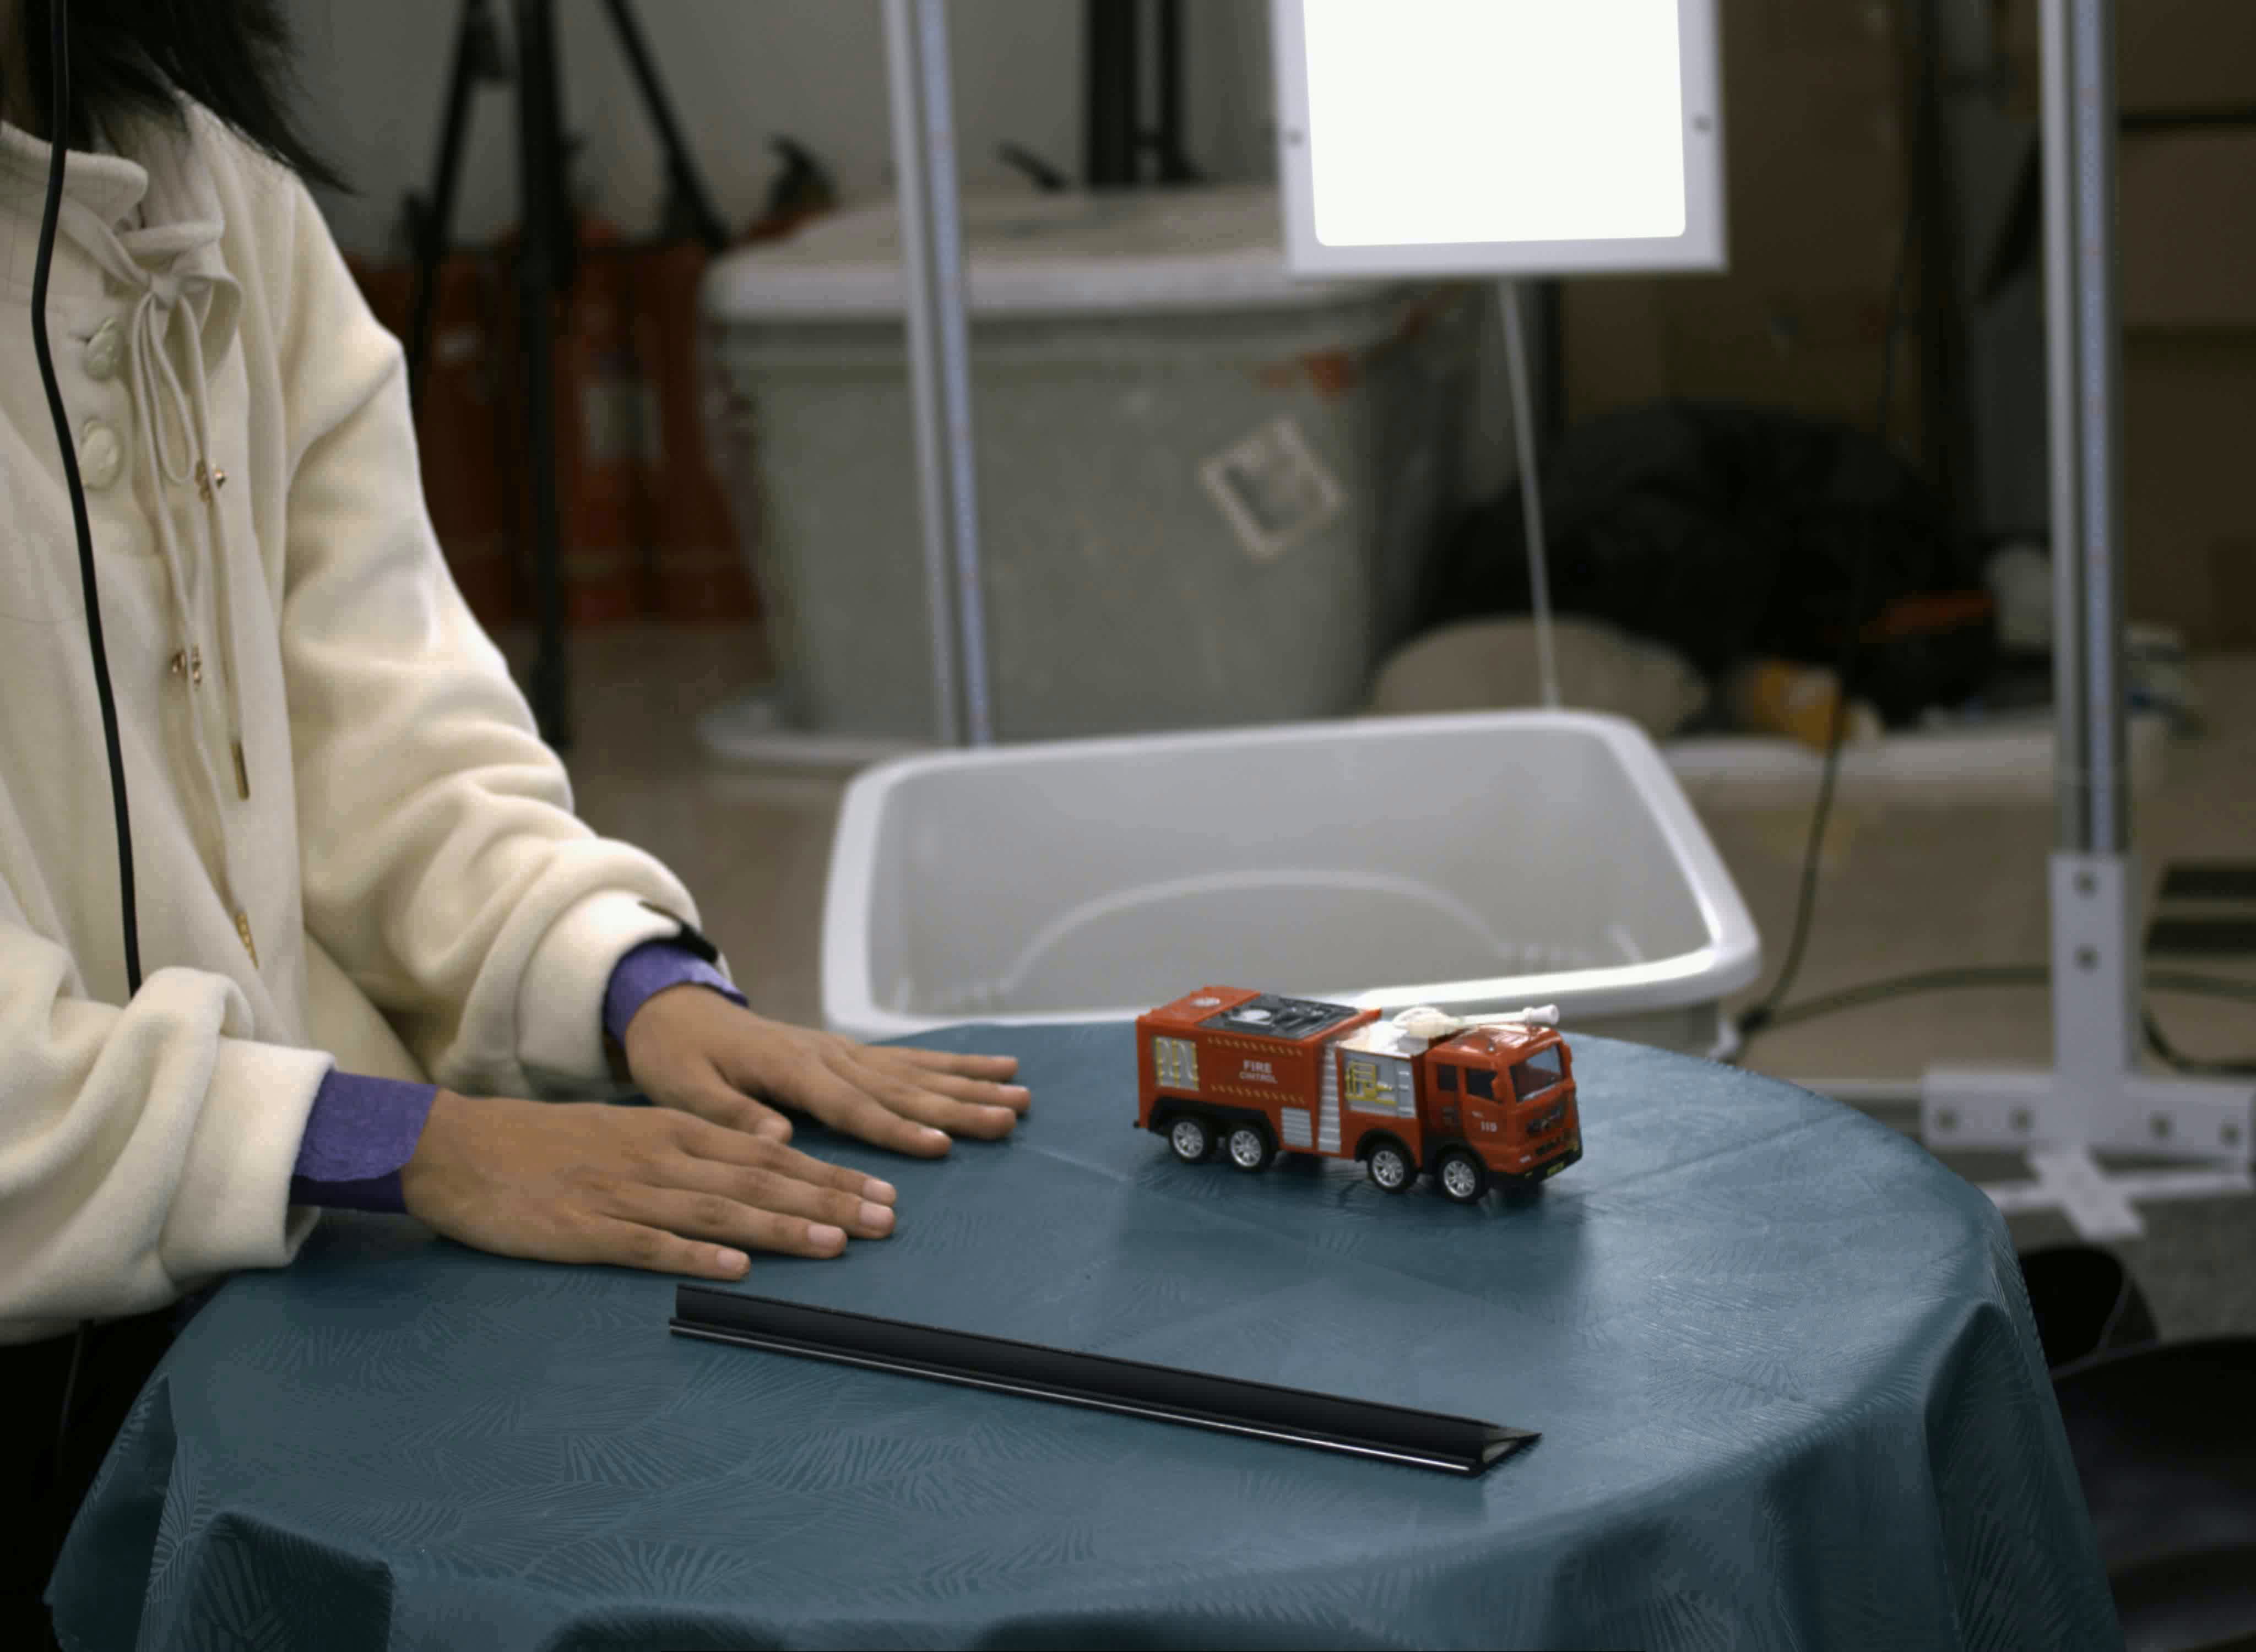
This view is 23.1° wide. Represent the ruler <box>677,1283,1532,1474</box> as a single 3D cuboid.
[{"bbox_3d":[-0.013,0.166,1.710,0.319,0.017,0.038,6,14,39],"label":"ruler"}]

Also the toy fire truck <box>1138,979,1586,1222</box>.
[{"bbox_3d":[0.080,0.090,1.894,0.171,0.070,0.052,4,16,39],"label":"toy fire truck"}]
